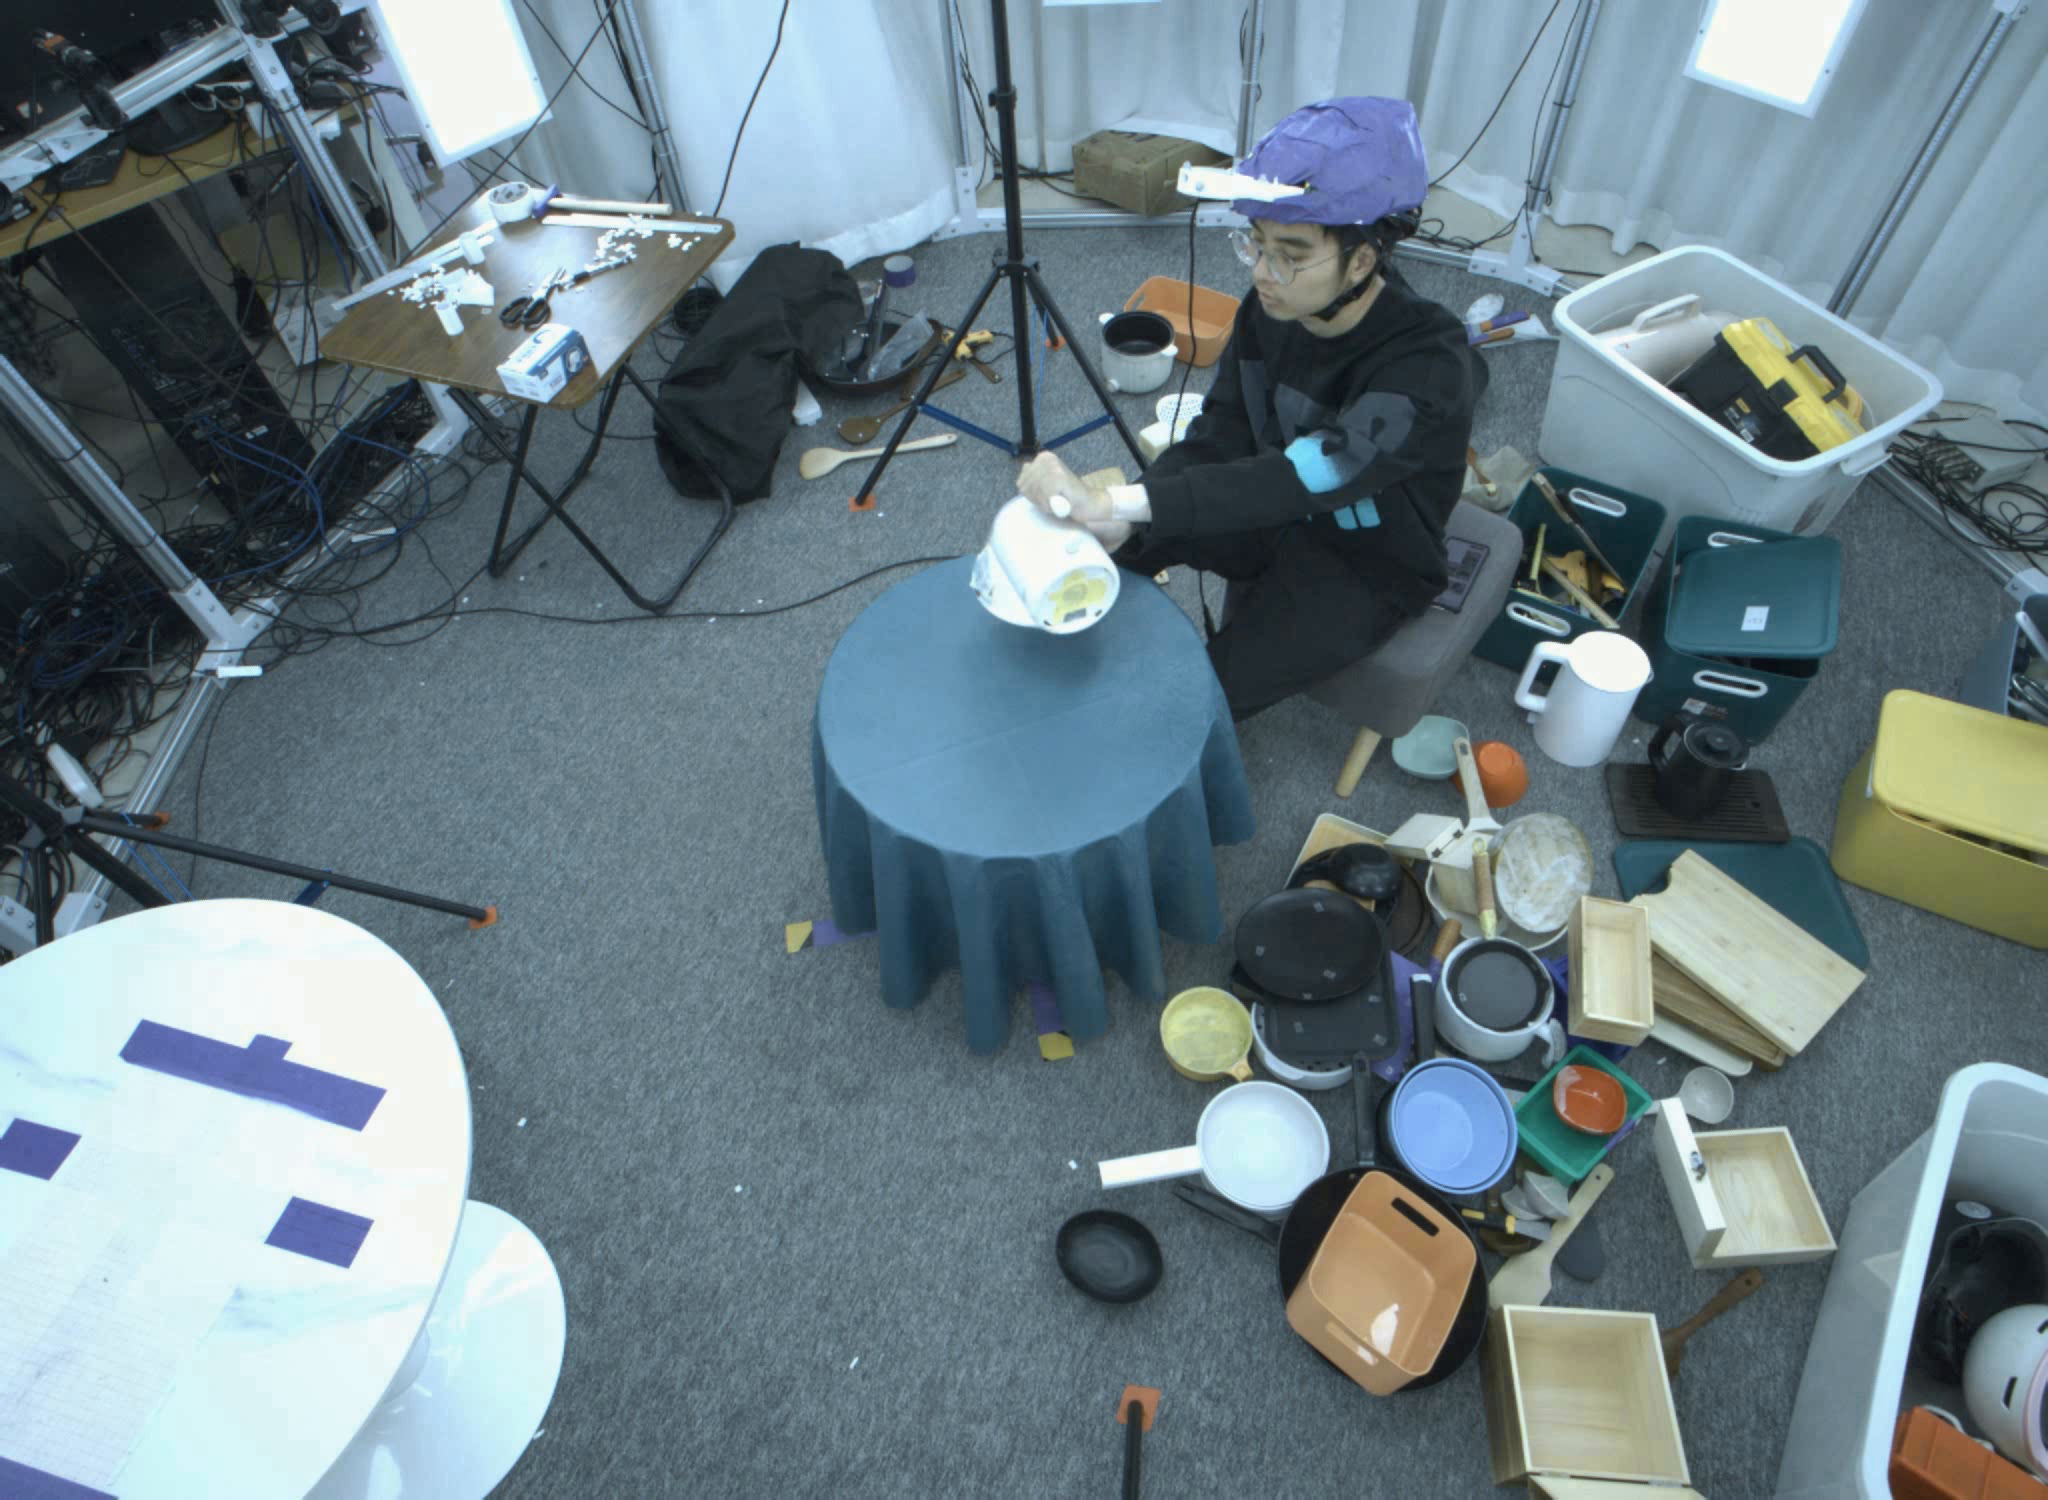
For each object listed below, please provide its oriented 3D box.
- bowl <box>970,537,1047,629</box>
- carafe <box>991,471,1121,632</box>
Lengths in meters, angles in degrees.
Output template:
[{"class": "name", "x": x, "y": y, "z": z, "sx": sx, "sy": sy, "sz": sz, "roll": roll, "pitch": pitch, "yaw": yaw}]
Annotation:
[{"class": "bowl", "x": 0.021, "y": -0.242, "z": 1.864, "sx": 0.204, "sy": 0.078, "sz": 0.202, "roll": 2, "pitch": 55, "yaw": -1}, {"class": "carafe", "x": 0.040, "y": -0.276, "z": 1.652, "sx": 0.133, "sy": 0.192, "sz": 0.179, "roll": -17, "pitch": 54, "yaw": -17}]
